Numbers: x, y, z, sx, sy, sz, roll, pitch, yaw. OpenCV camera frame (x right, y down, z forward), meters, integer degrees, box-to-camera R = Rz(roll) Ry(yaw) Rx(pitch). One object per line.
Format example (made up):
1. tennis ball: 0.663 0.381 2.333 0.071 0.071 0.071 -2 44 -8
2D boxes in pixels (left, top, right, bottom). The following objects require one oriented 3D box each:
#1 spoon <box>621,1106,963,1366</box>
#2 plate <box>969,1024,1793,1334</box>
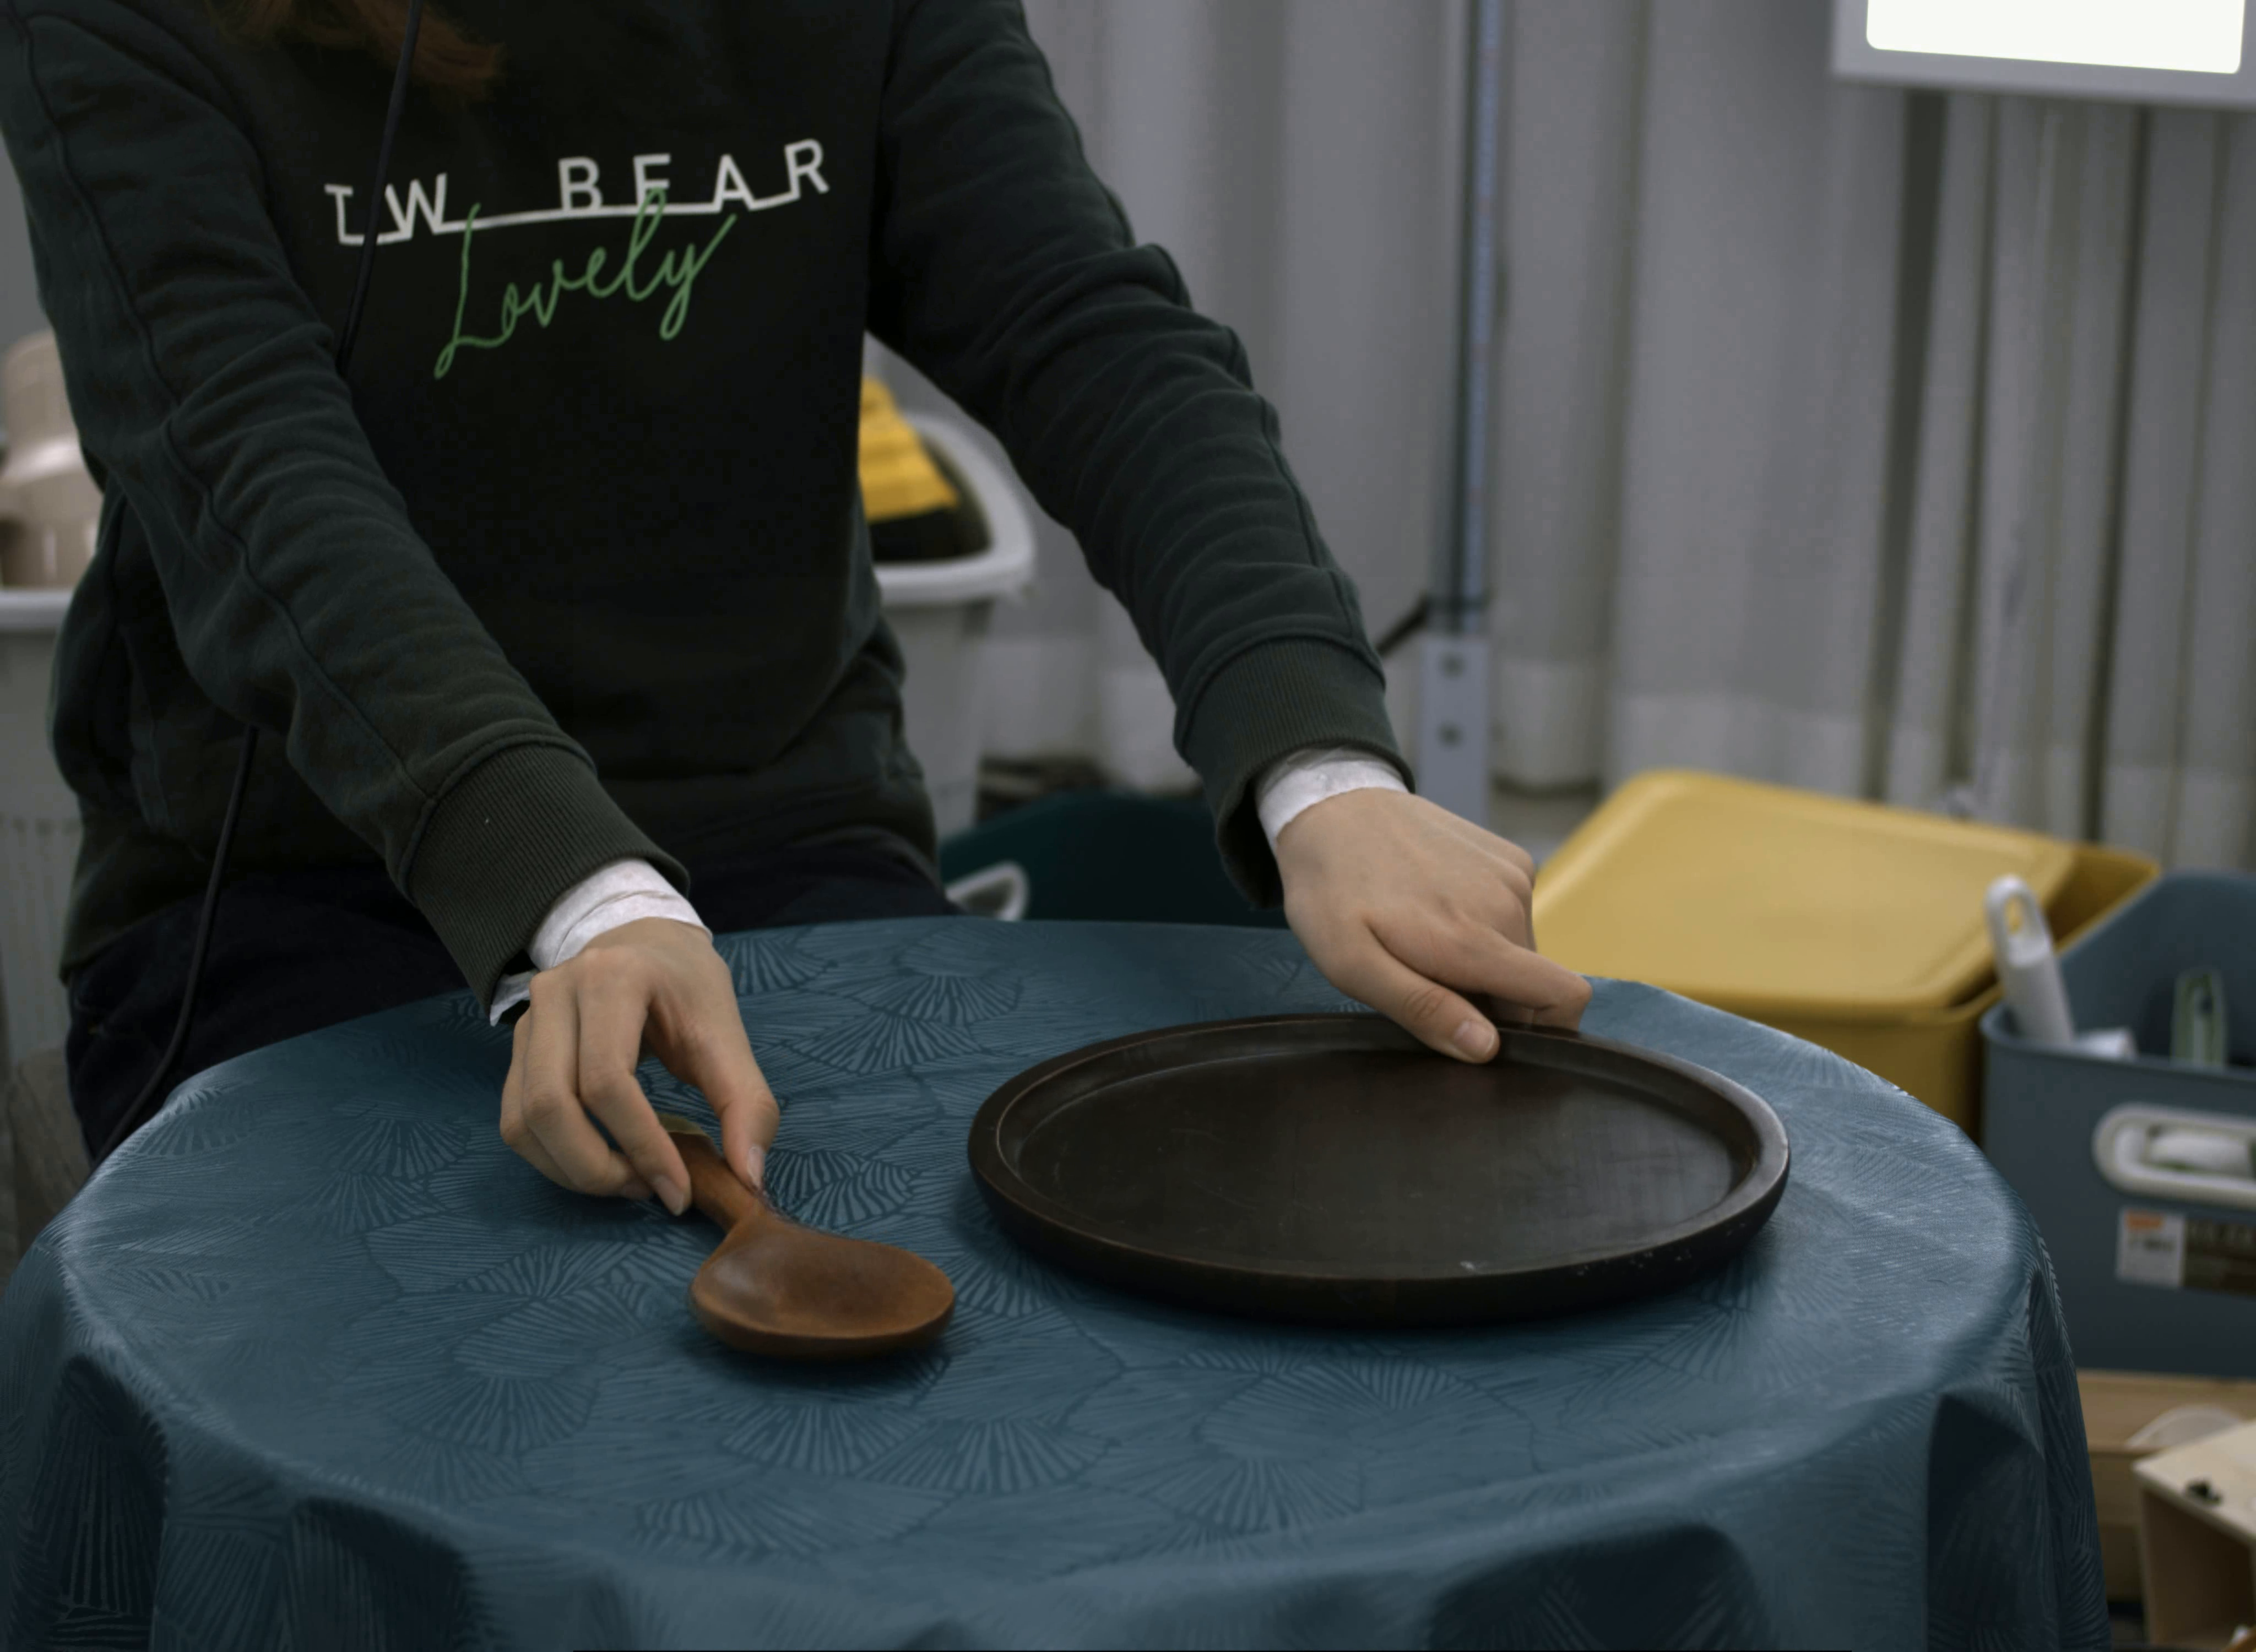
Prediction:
1. spoon: -0.109 0.122 1.558 0.076 0.017 0.213 -6 17 -21
2. plate: 0.077 0.105 1.617 0.254 0.029 0.253 2 16 0
